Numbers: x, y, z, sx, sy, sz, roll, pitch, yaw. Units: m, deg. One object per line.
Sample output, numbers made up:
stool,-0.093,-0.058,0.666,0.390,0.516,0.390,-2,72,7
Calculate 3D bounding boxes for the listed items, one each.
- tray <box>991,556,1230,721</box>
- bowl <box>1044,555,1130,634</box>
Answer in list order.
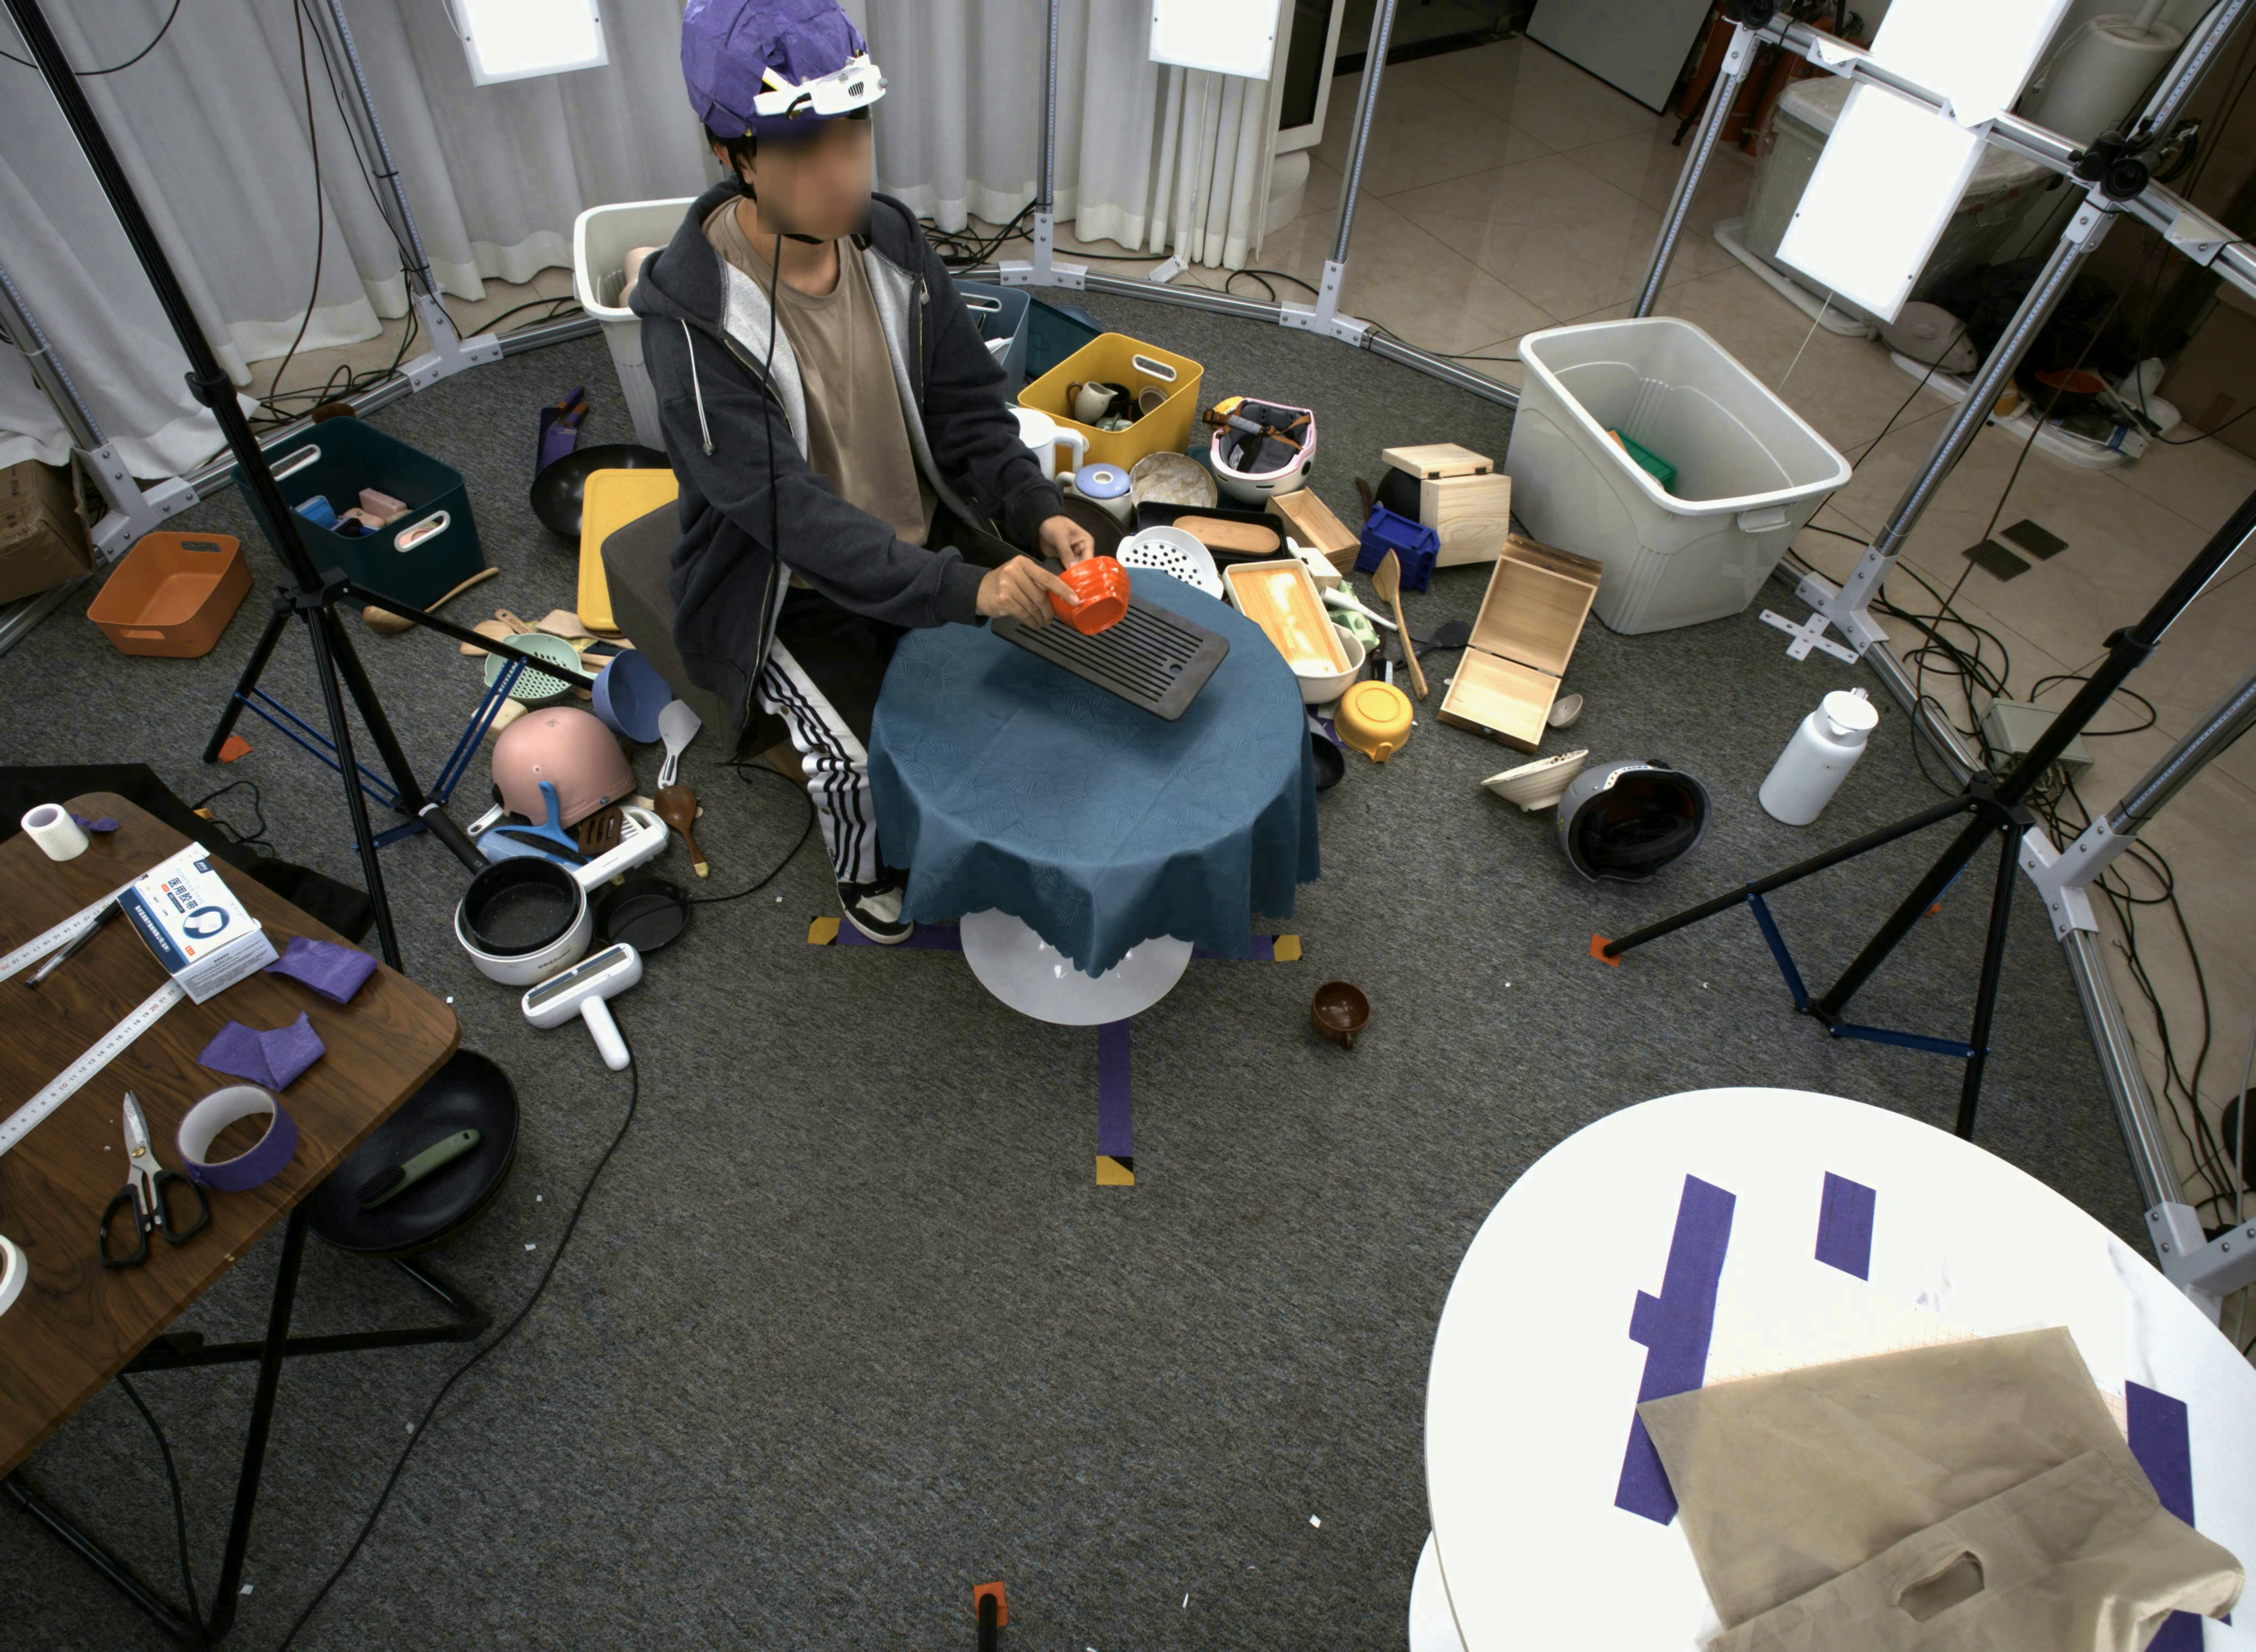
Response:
tray,-0.024,-0.267,1.811,0.308,0.018,0.173,28,59,14
bowl,-0.045,-0.290,1.652,0.119,0.116,0.052,-15,65,-17
